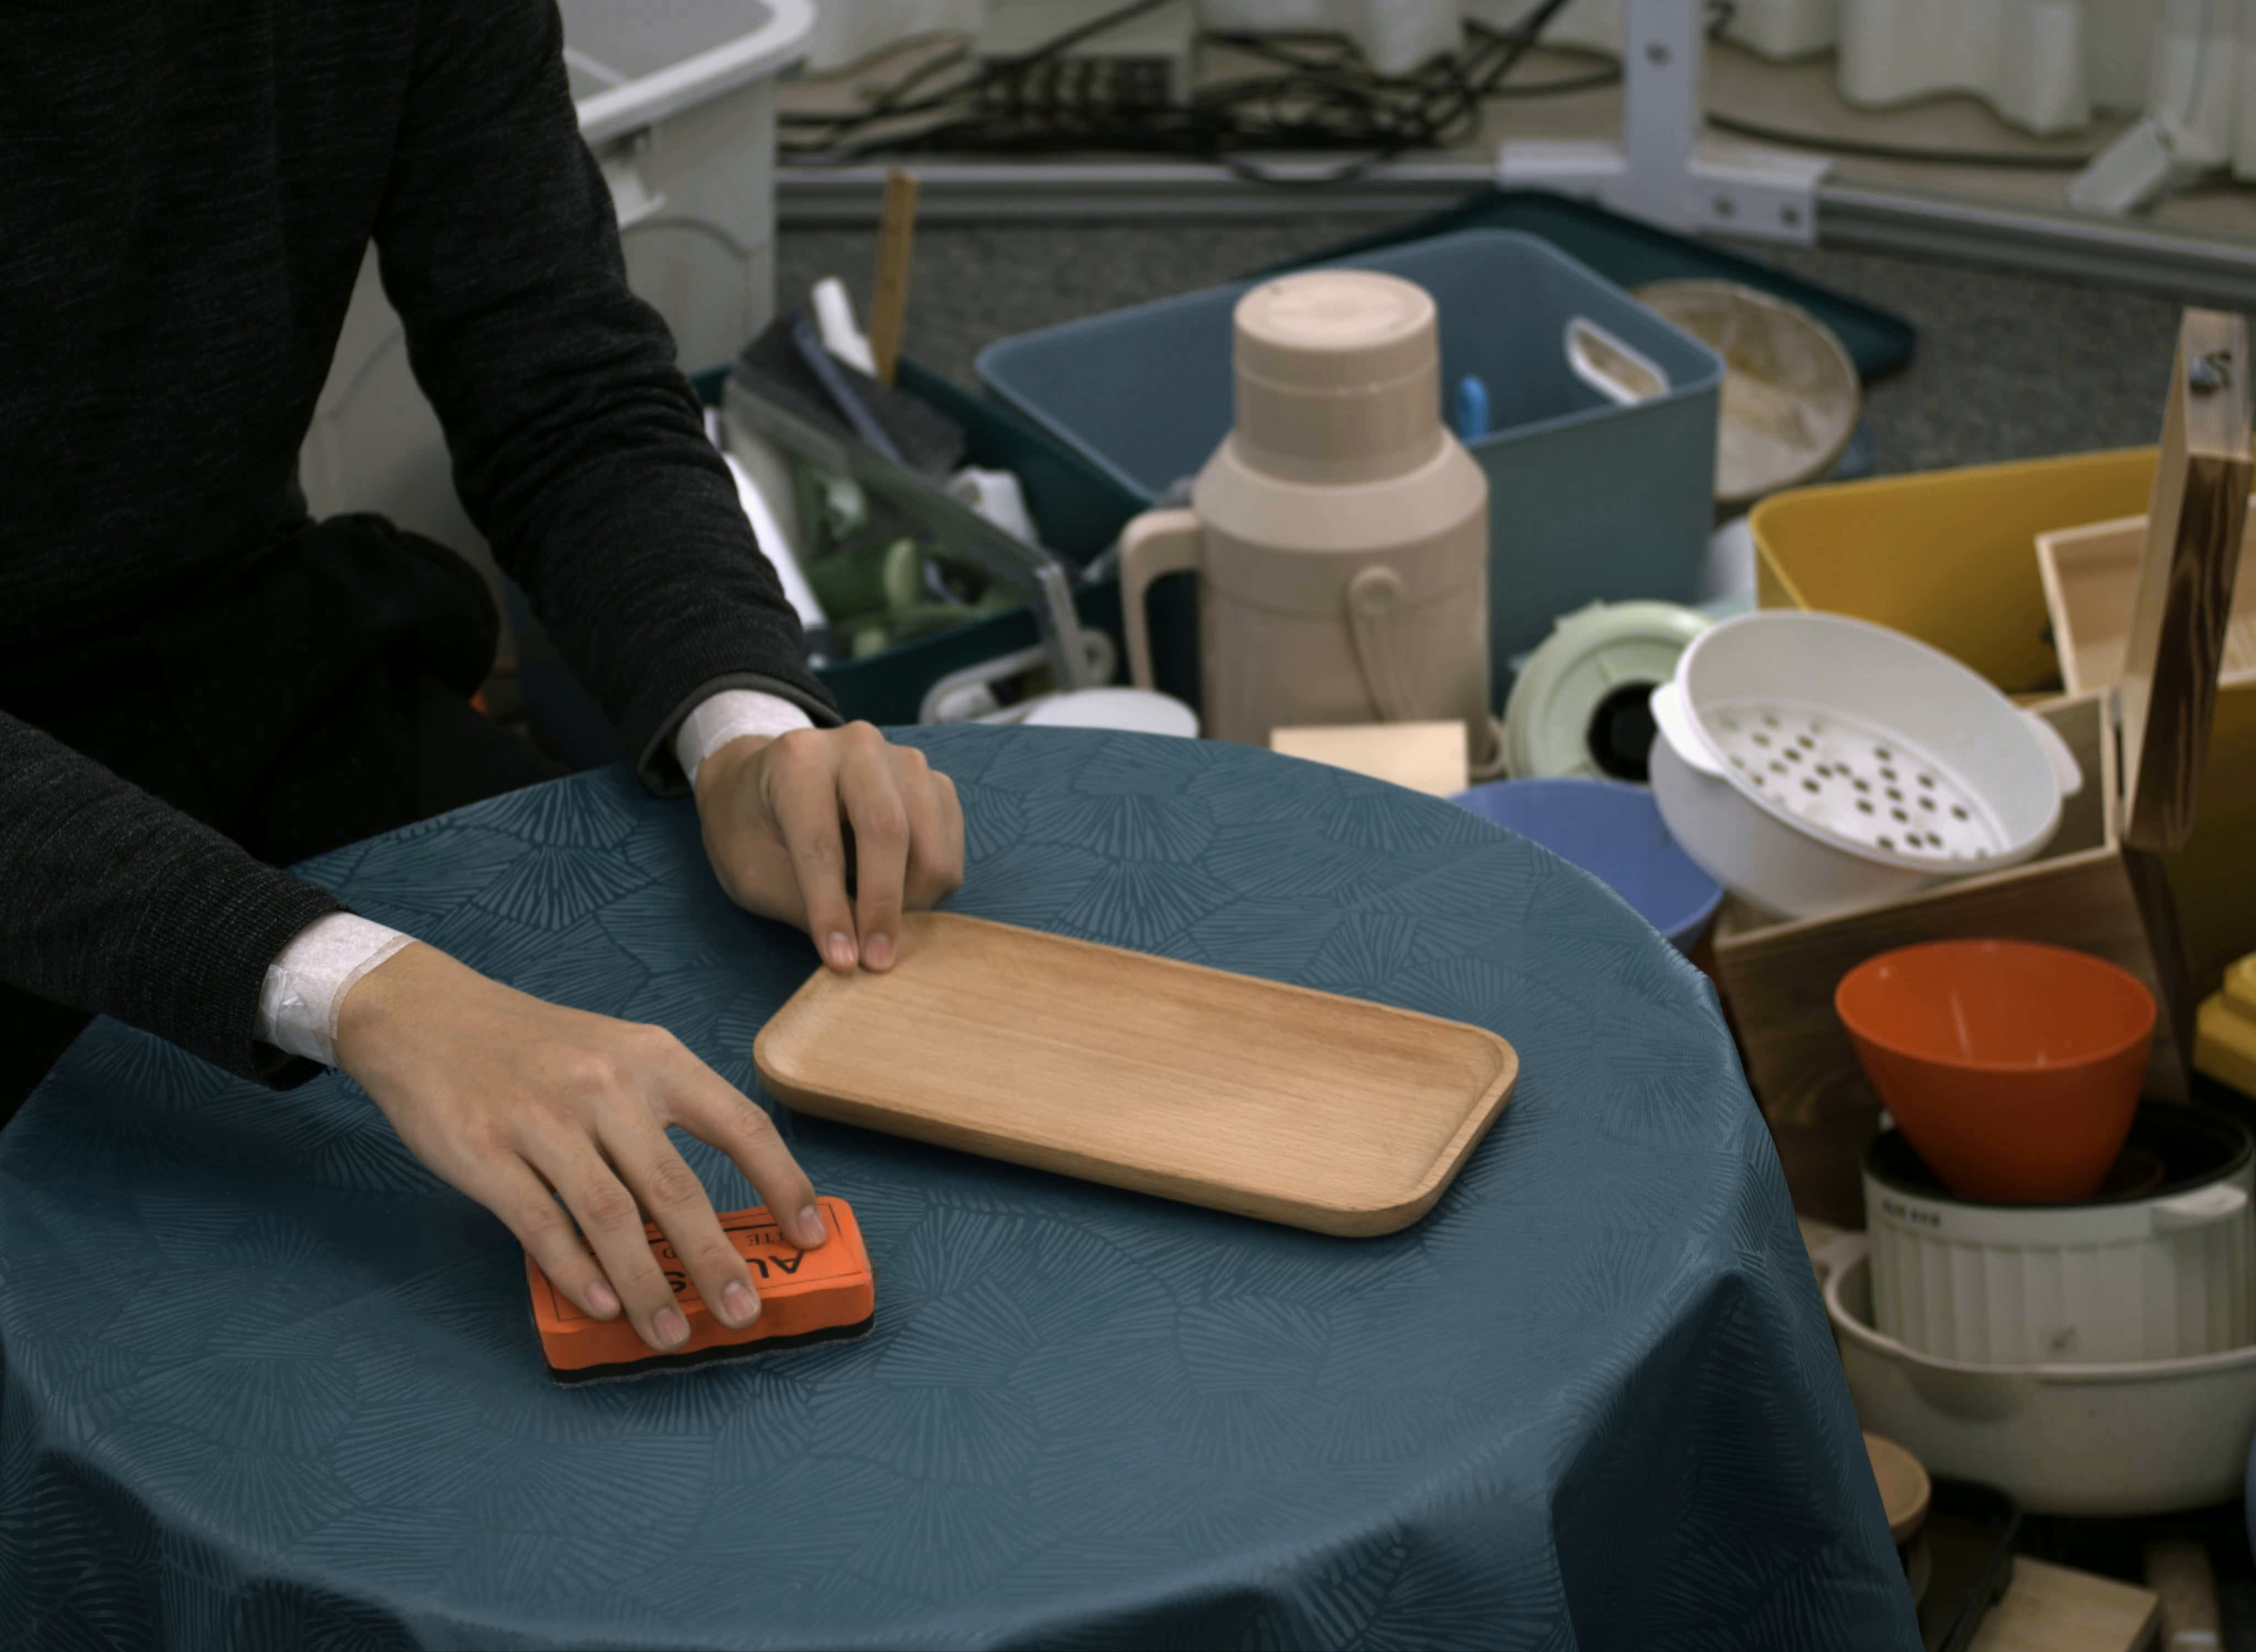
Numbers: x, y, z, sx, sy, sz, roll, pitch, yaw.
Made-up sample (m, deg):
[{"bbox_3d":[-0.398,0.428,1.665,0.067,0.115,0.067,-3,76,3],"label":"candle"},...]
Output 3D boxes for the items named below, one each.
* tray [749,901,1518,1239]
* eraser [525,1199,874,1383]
[{"bbox_3d":[0.001,0.082,1.907,0.249,0.022,0.133,12,29,22],"label":"tray"},{"bbox_3d":[-0.137,0.149,1.797,0.108,0.022,0.059,-8,26,-9],"label":"eraser"}]
